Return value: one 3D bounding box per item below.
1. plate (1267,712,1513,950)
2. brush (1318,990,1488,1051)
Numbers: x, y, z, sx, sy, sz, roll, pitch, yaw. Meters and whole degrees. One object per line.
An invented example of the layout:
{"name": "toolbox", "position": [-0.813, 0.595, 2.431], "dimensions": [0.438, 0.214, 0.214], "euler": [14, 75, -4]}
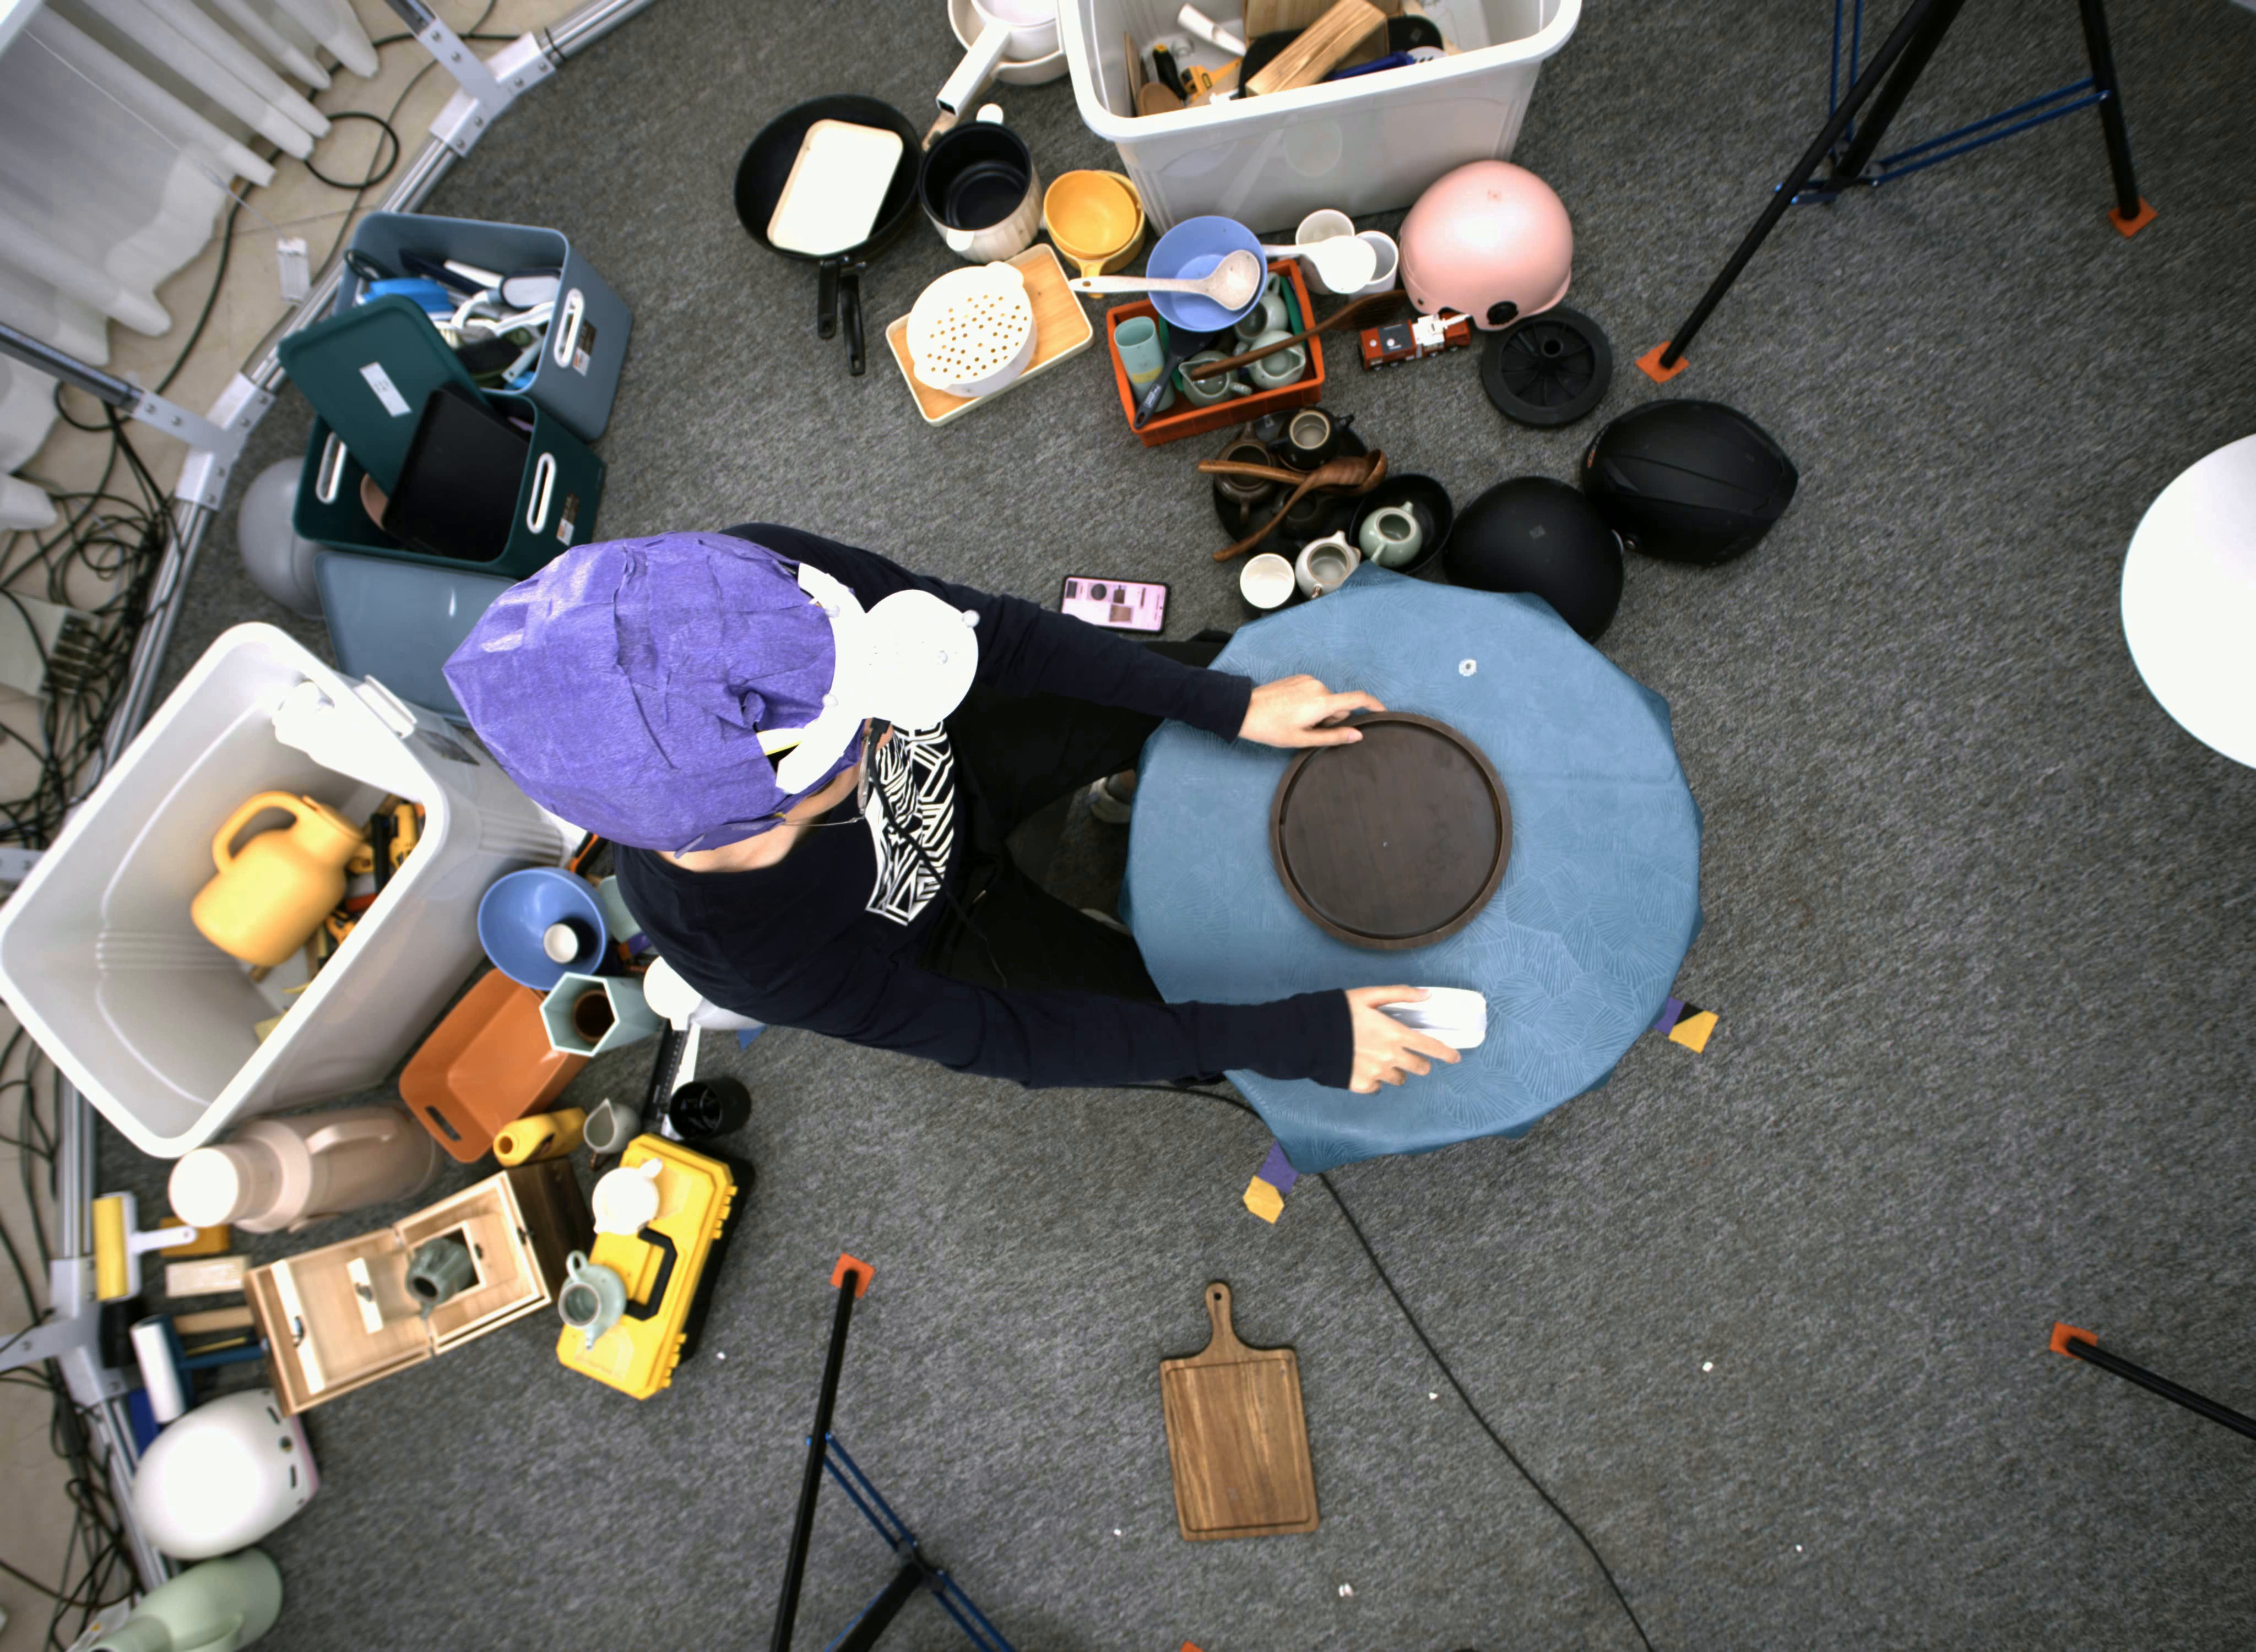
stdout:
{"name": "plate", "position": [0.275, 0.004, 1.450], "dimensions": [0.256, 0.029, 0.253], "euler": [-1, 87, 9]}
{"name": "brush", "position": [0.279, 0.194, 1.405], "dimensions": [0.176, 0.094, 0.061], "euler": [1, 85, 13]}
